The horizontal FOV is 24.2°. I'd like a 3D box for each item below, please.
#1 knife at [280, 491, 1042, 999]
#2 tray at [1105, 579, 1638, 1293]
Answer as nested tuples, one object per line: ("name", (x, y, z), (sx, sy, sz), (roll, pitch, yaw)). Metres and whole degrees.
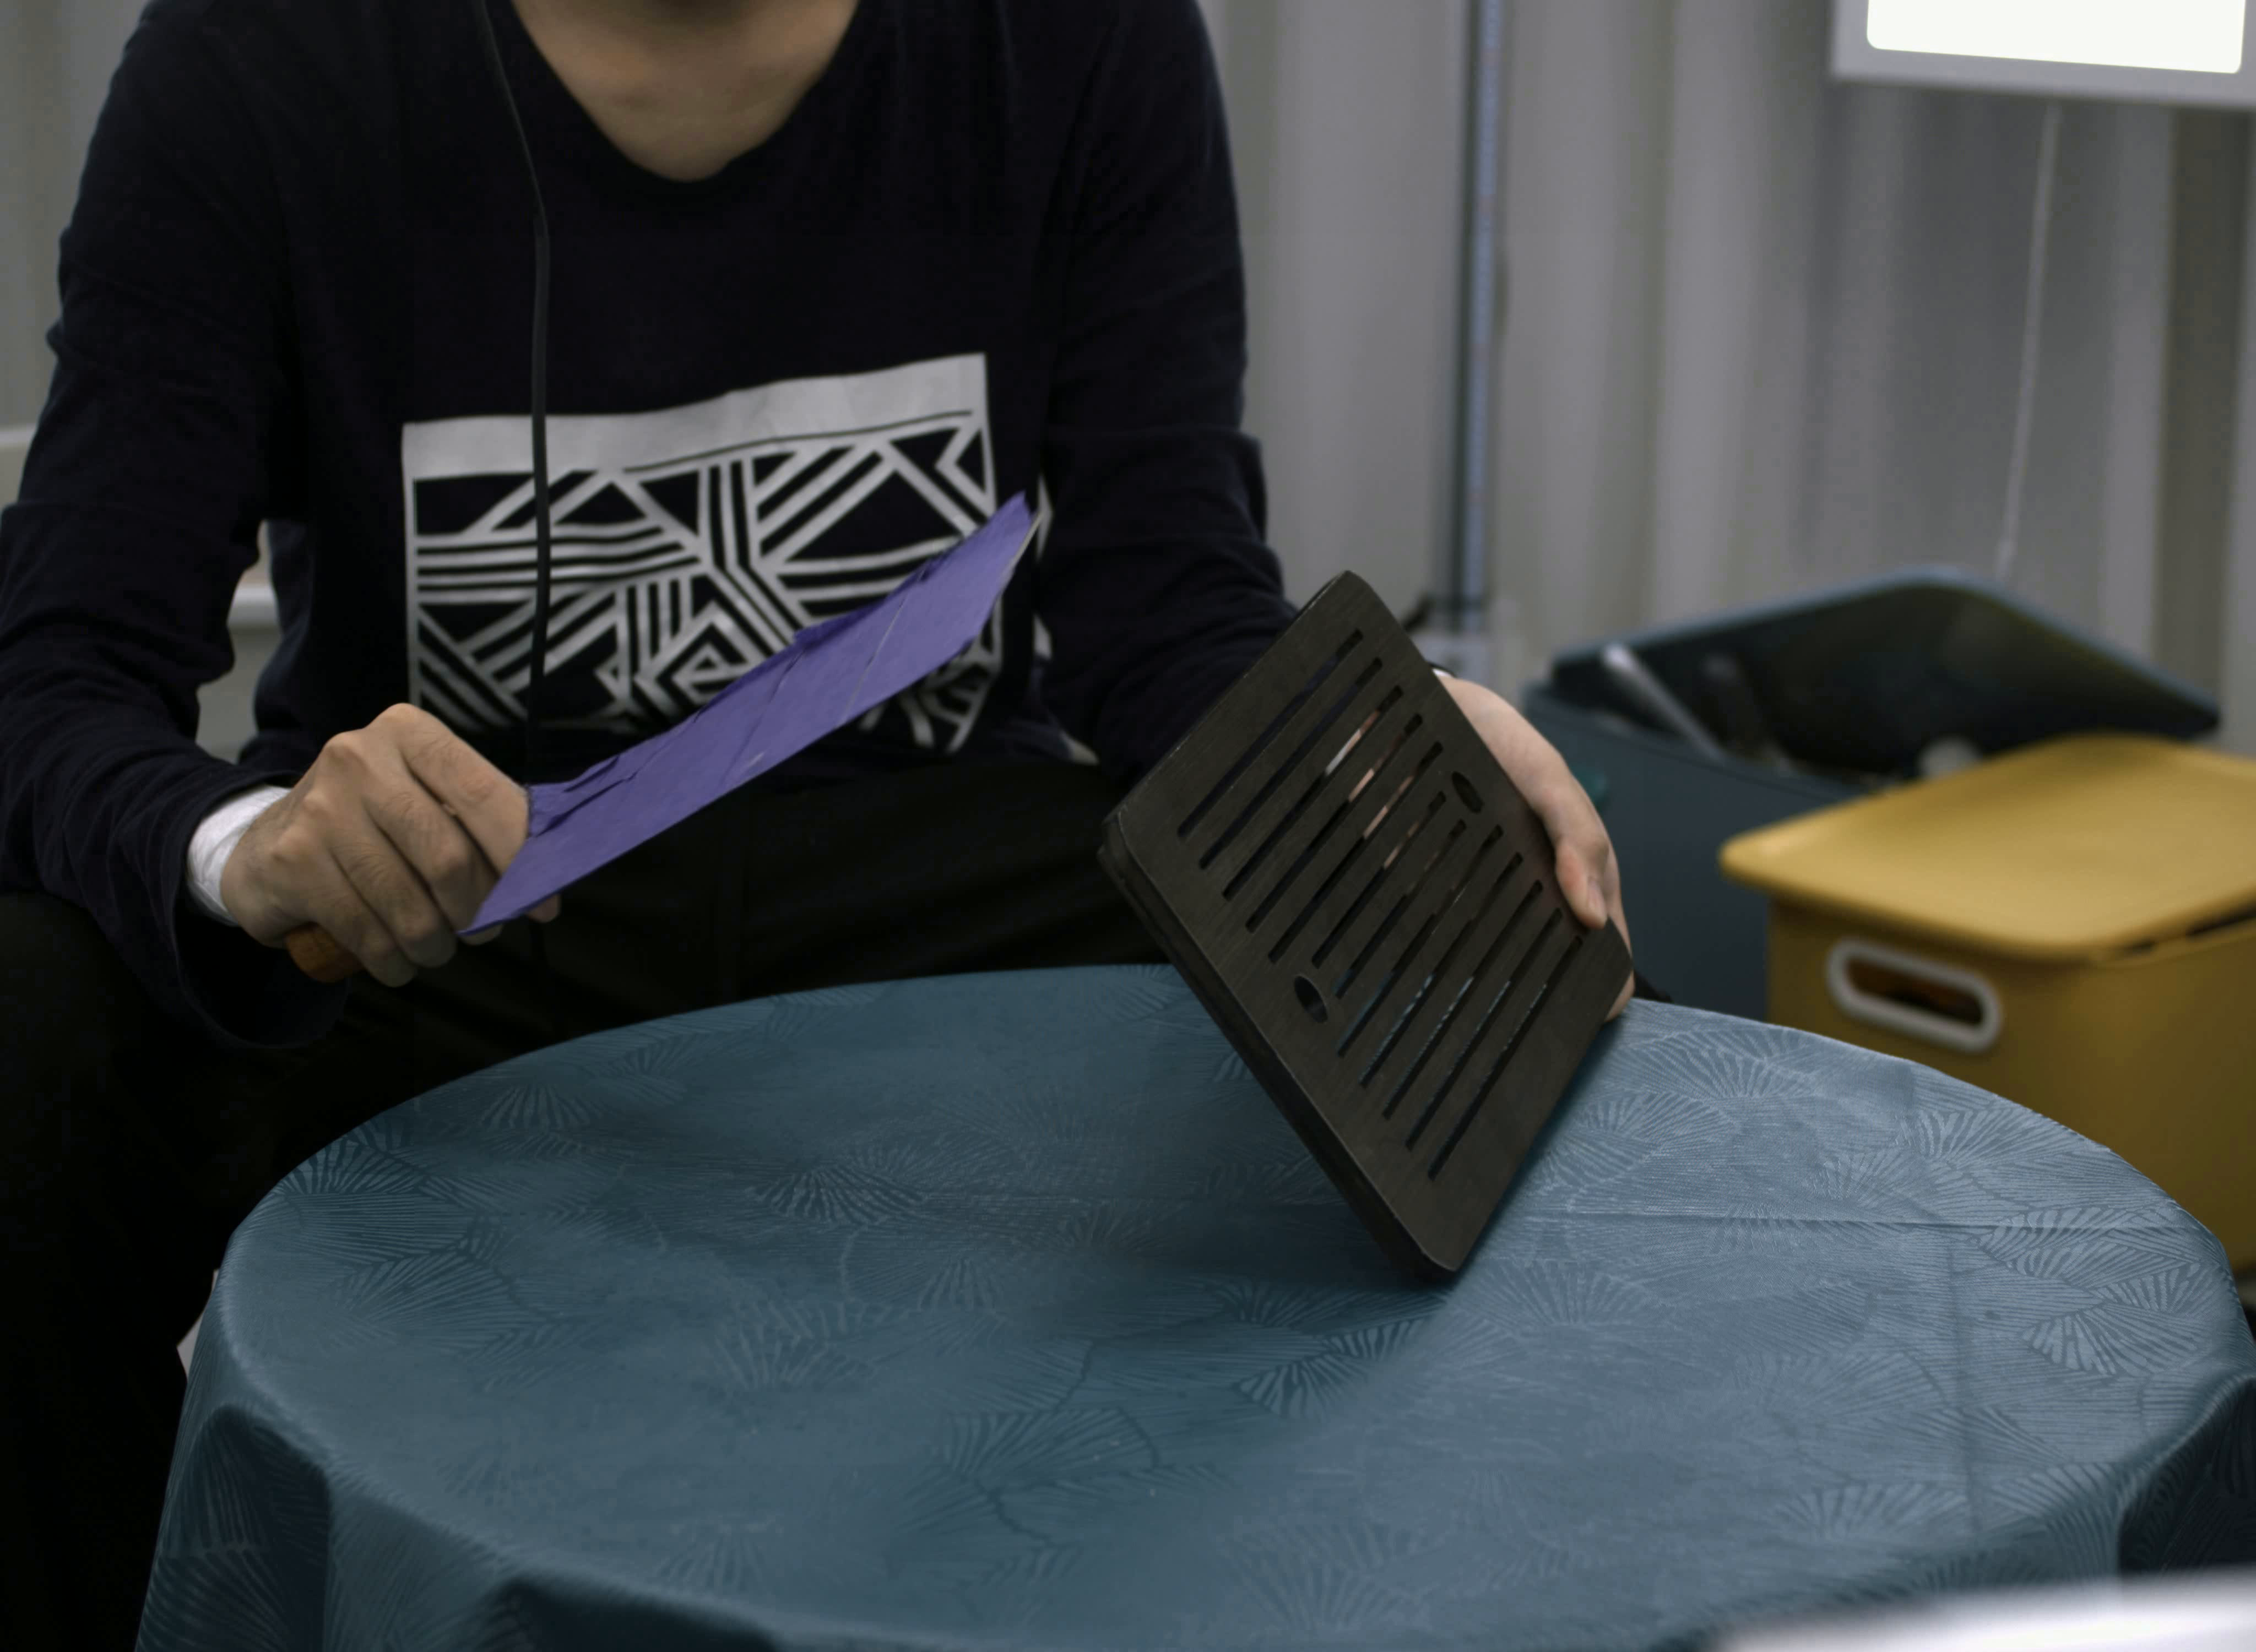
("knife", (-0.158, -0.011, 1.607), (0.314, 0.032, 0.103), (-31, 15, 30))
("tray", (0.081, 0.029, 1.668), (0.018, 0.171, 0.305), (-34, 5, 23))
